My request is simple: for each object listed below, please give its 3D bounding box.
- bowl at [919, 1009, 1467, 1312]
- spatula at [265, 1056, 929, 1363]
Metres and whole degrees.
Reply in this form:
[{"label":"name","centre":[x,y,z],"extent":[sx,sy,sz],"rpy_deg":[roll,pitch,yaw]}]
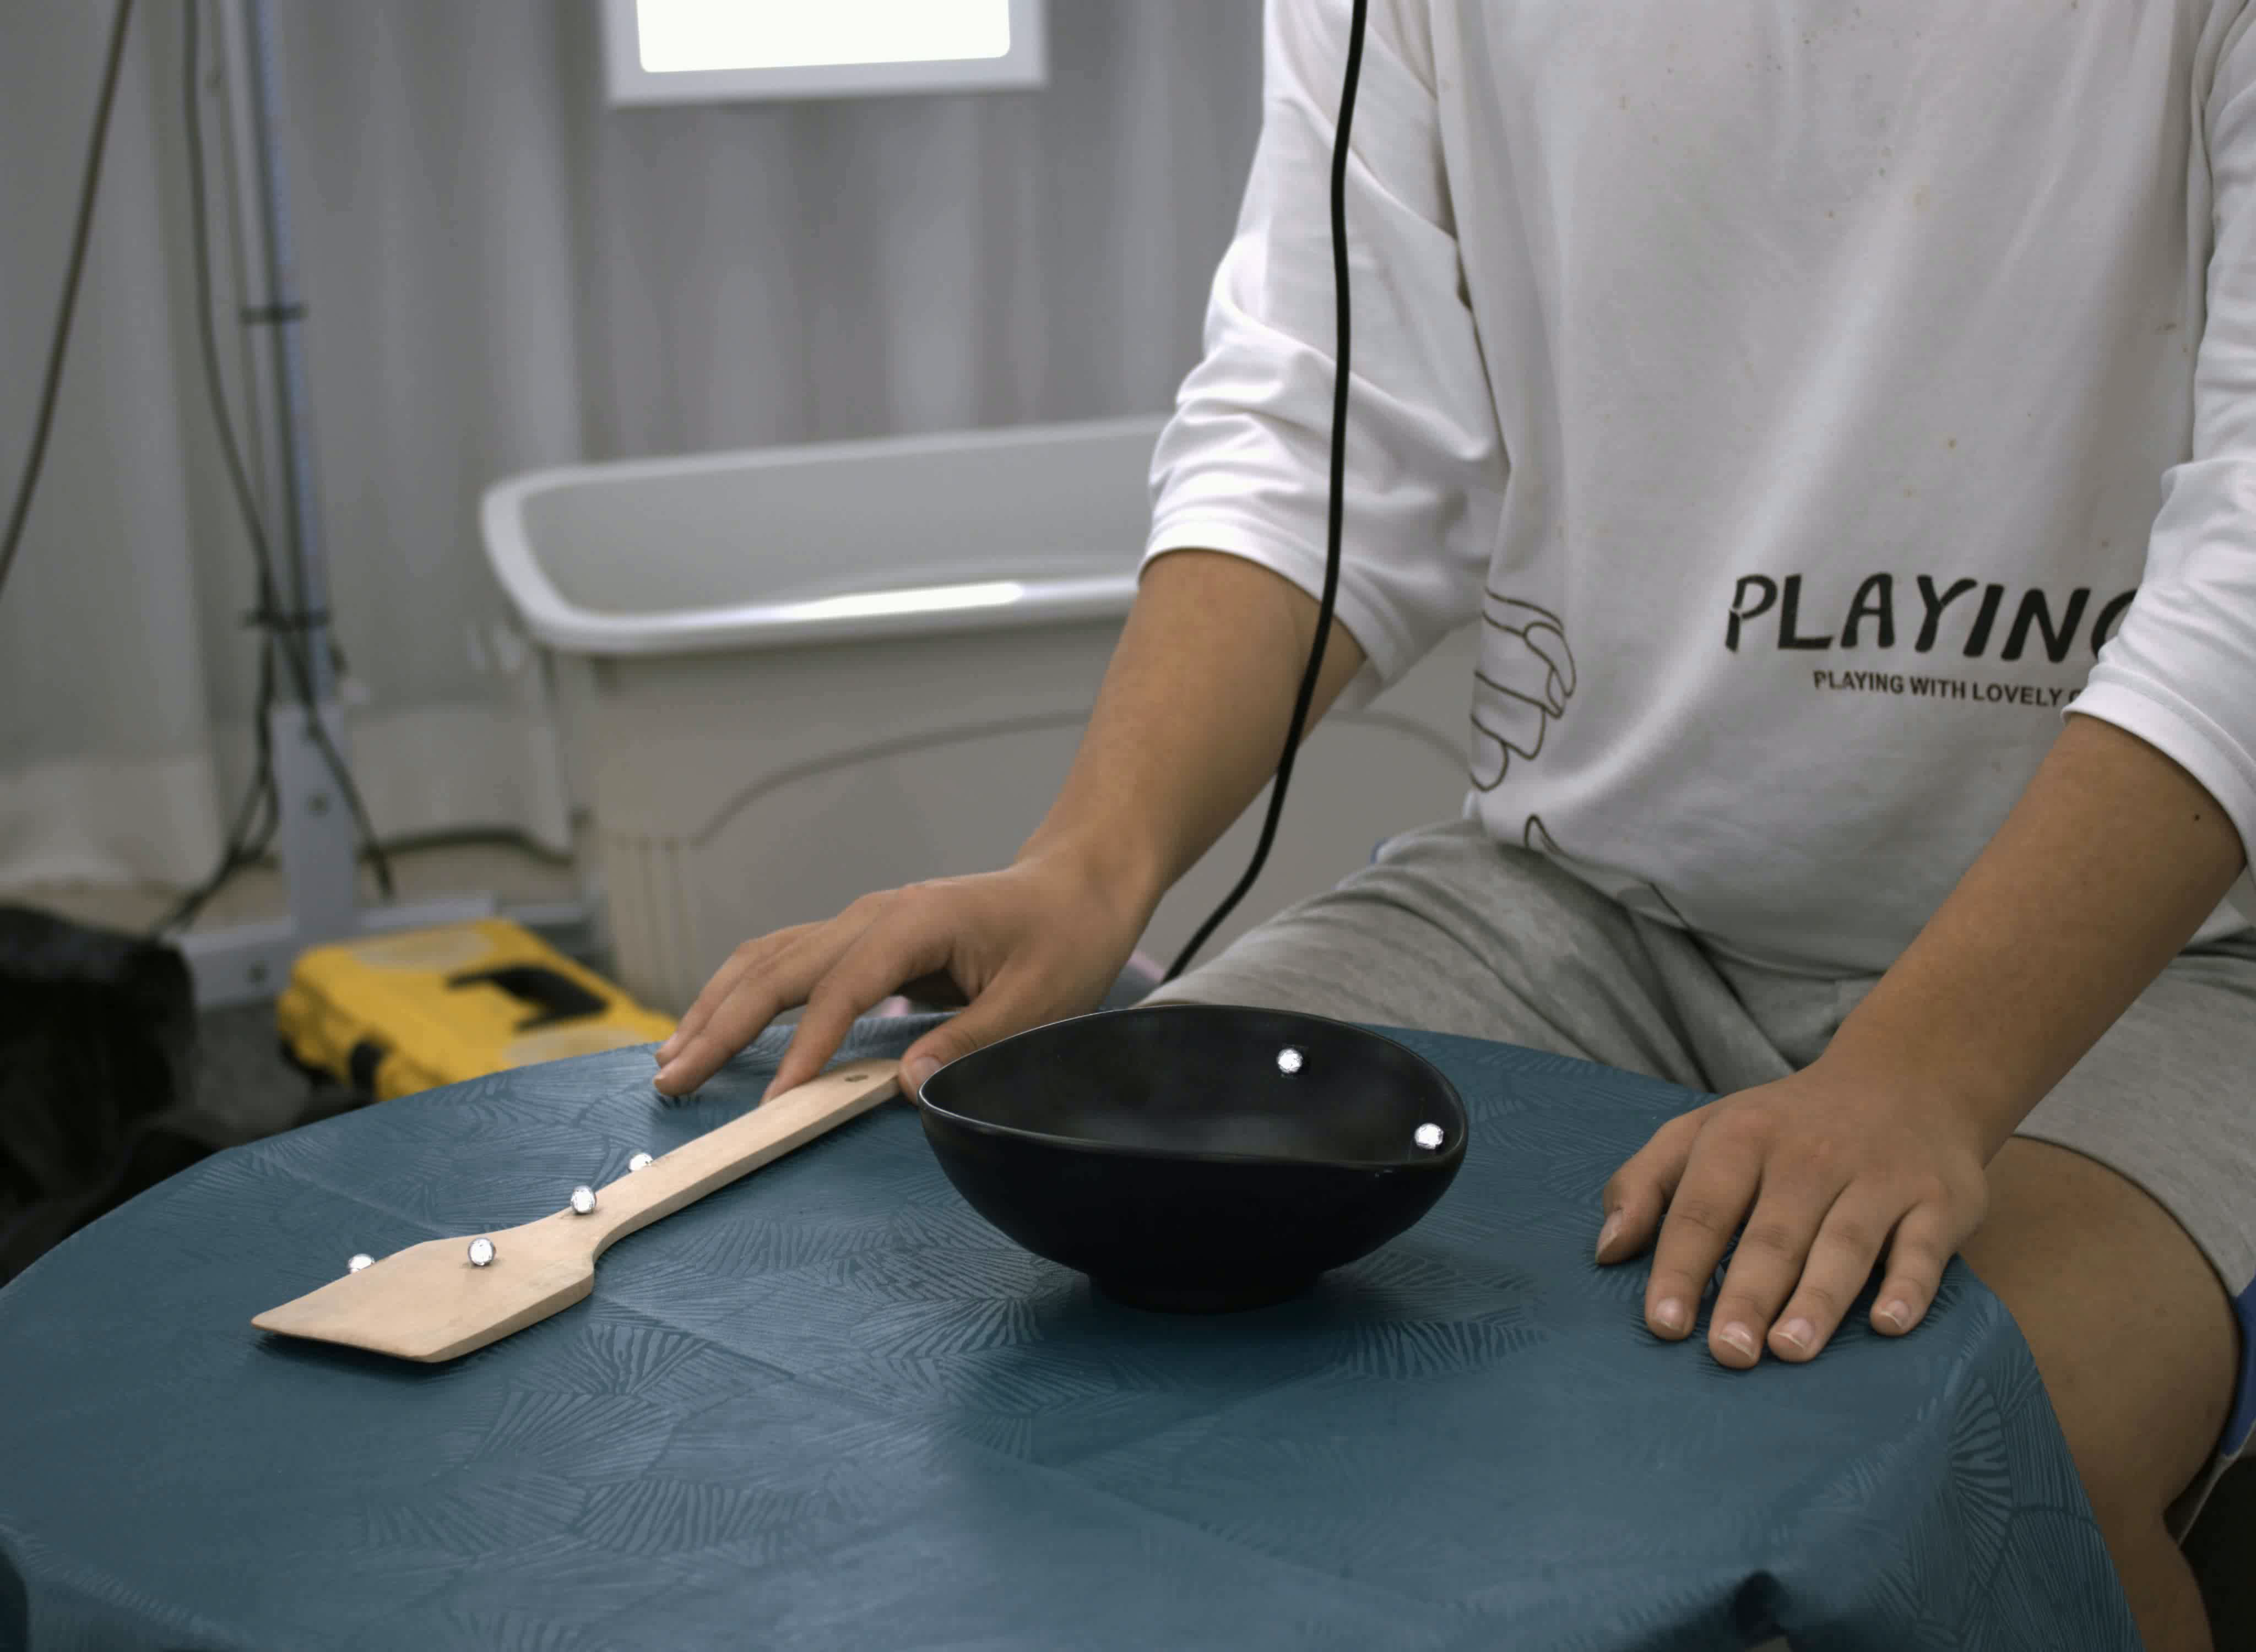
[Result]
[{"label":"bowl","centre":[0.020,0.104,1.632],"extent":[0.170,0.066,0.137],"rpy_deg":[5,16,21]},{"label":"spatula","centre":[-0.153,0.117,1.717],"extent":[0.072,0.010,0.293],"rpy_deg":[6,18,32]}]
